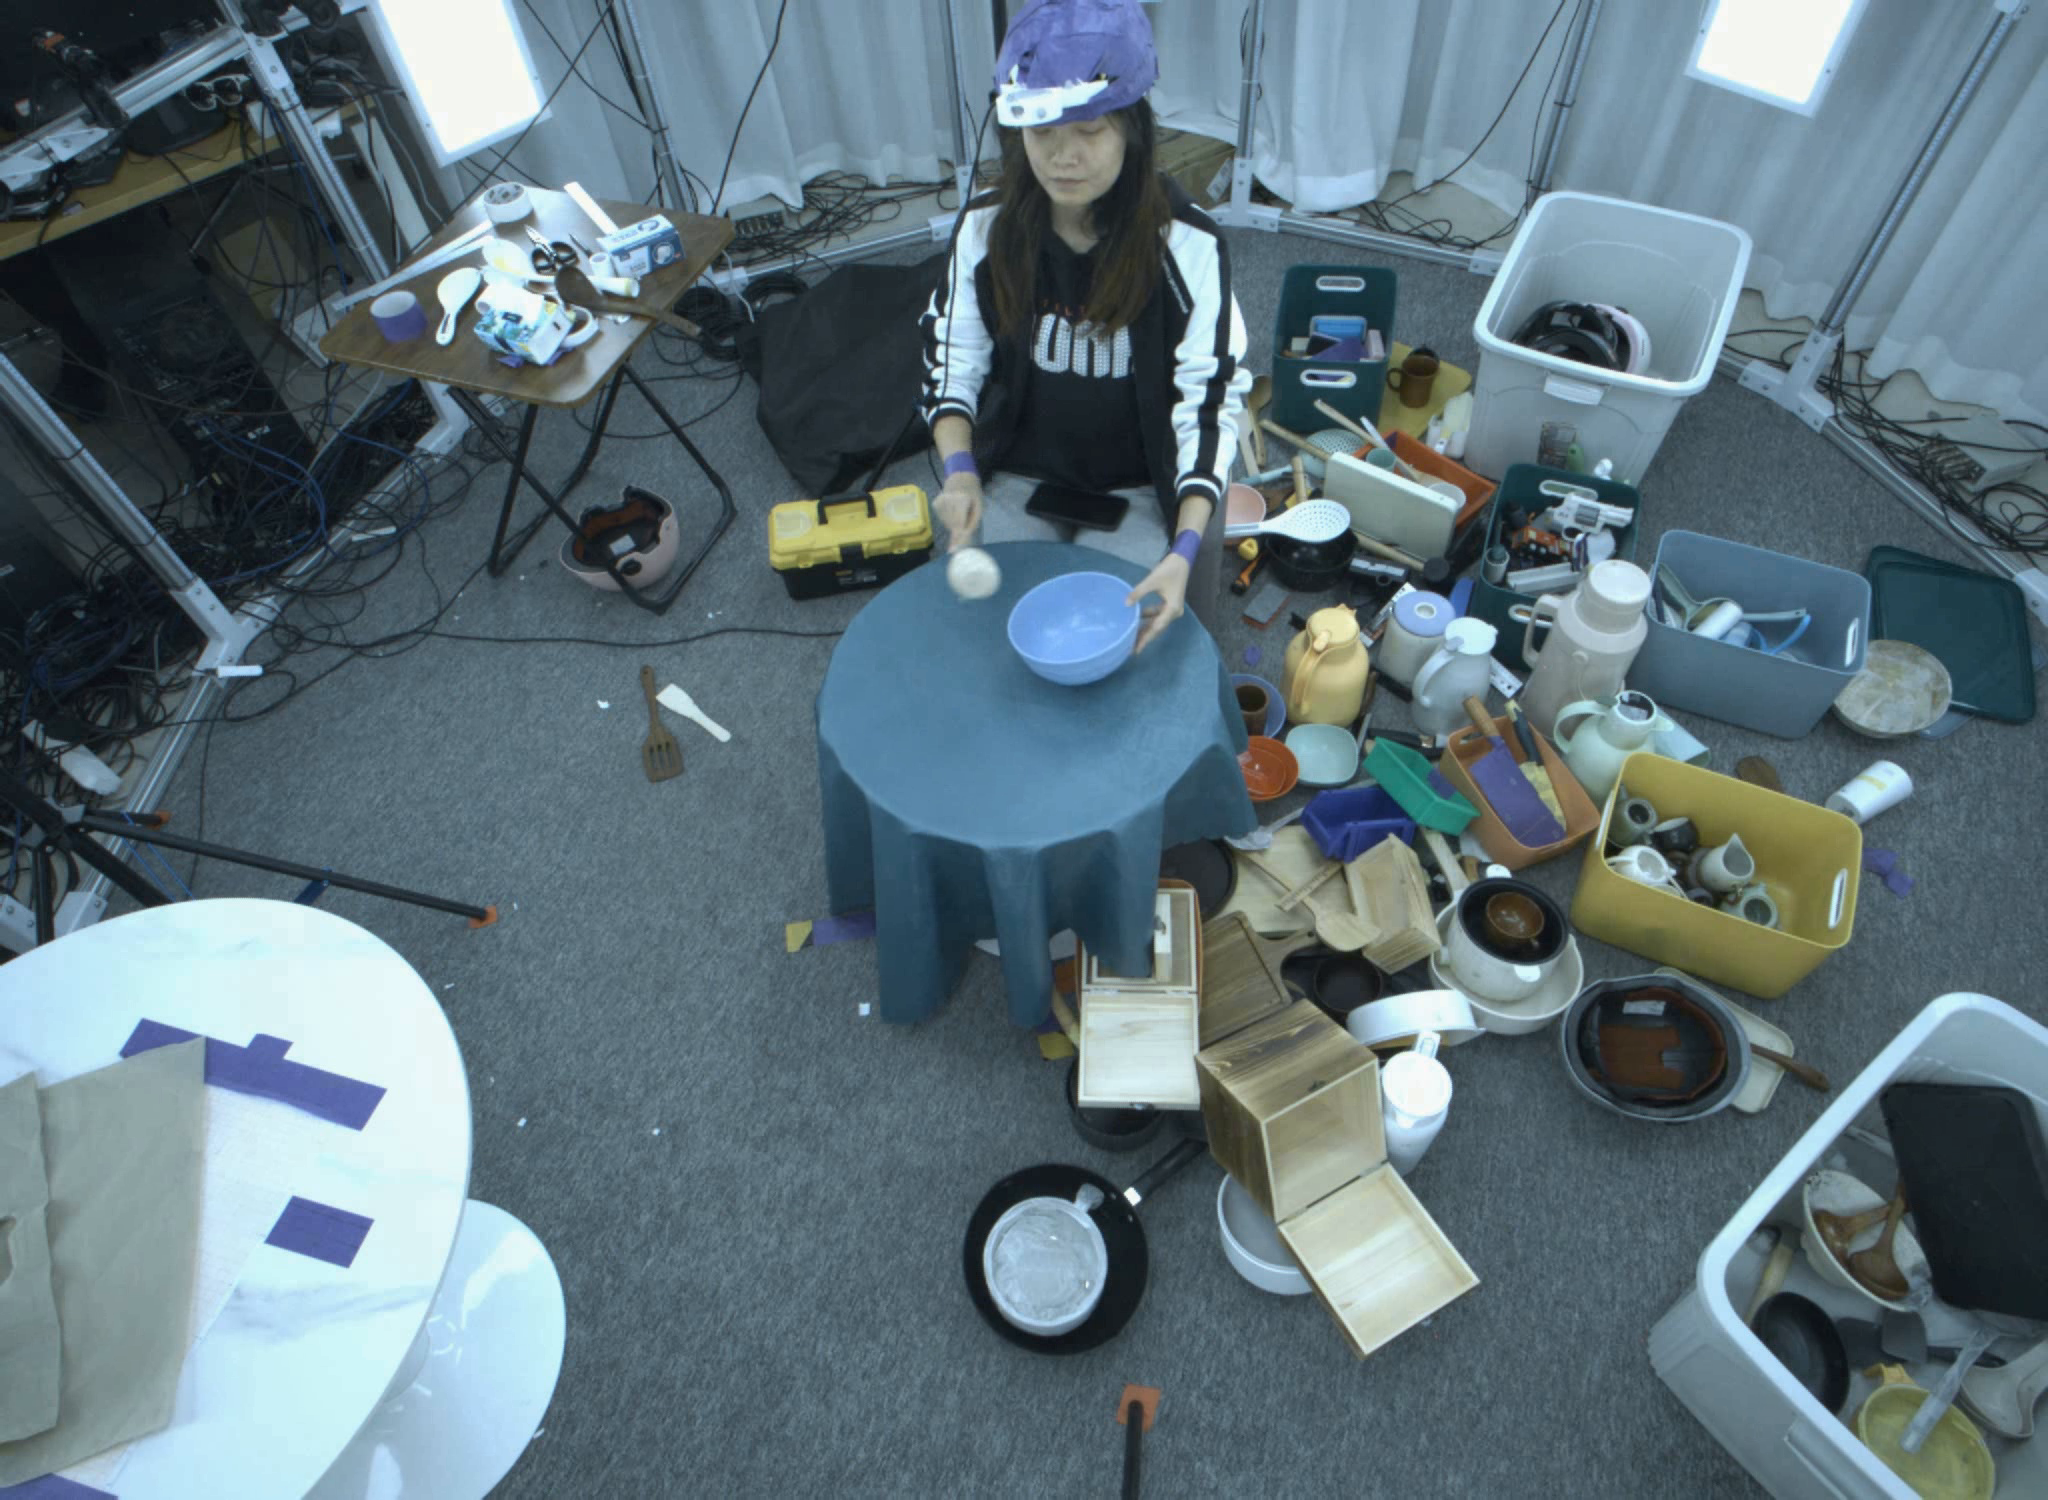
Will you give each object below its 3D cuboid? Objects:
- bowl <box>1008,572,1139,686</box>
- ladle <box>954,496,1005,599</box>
[{"bbox_3d":[0.082,-0.164,1.827,0.195,0.097,0.194,-8,48,10],"label":"bowl"},{"bbox_3d":[-0.060,-0.304,1.793,0.073,0.072,0.252,16,35,-10],"label":"ladle"}]
